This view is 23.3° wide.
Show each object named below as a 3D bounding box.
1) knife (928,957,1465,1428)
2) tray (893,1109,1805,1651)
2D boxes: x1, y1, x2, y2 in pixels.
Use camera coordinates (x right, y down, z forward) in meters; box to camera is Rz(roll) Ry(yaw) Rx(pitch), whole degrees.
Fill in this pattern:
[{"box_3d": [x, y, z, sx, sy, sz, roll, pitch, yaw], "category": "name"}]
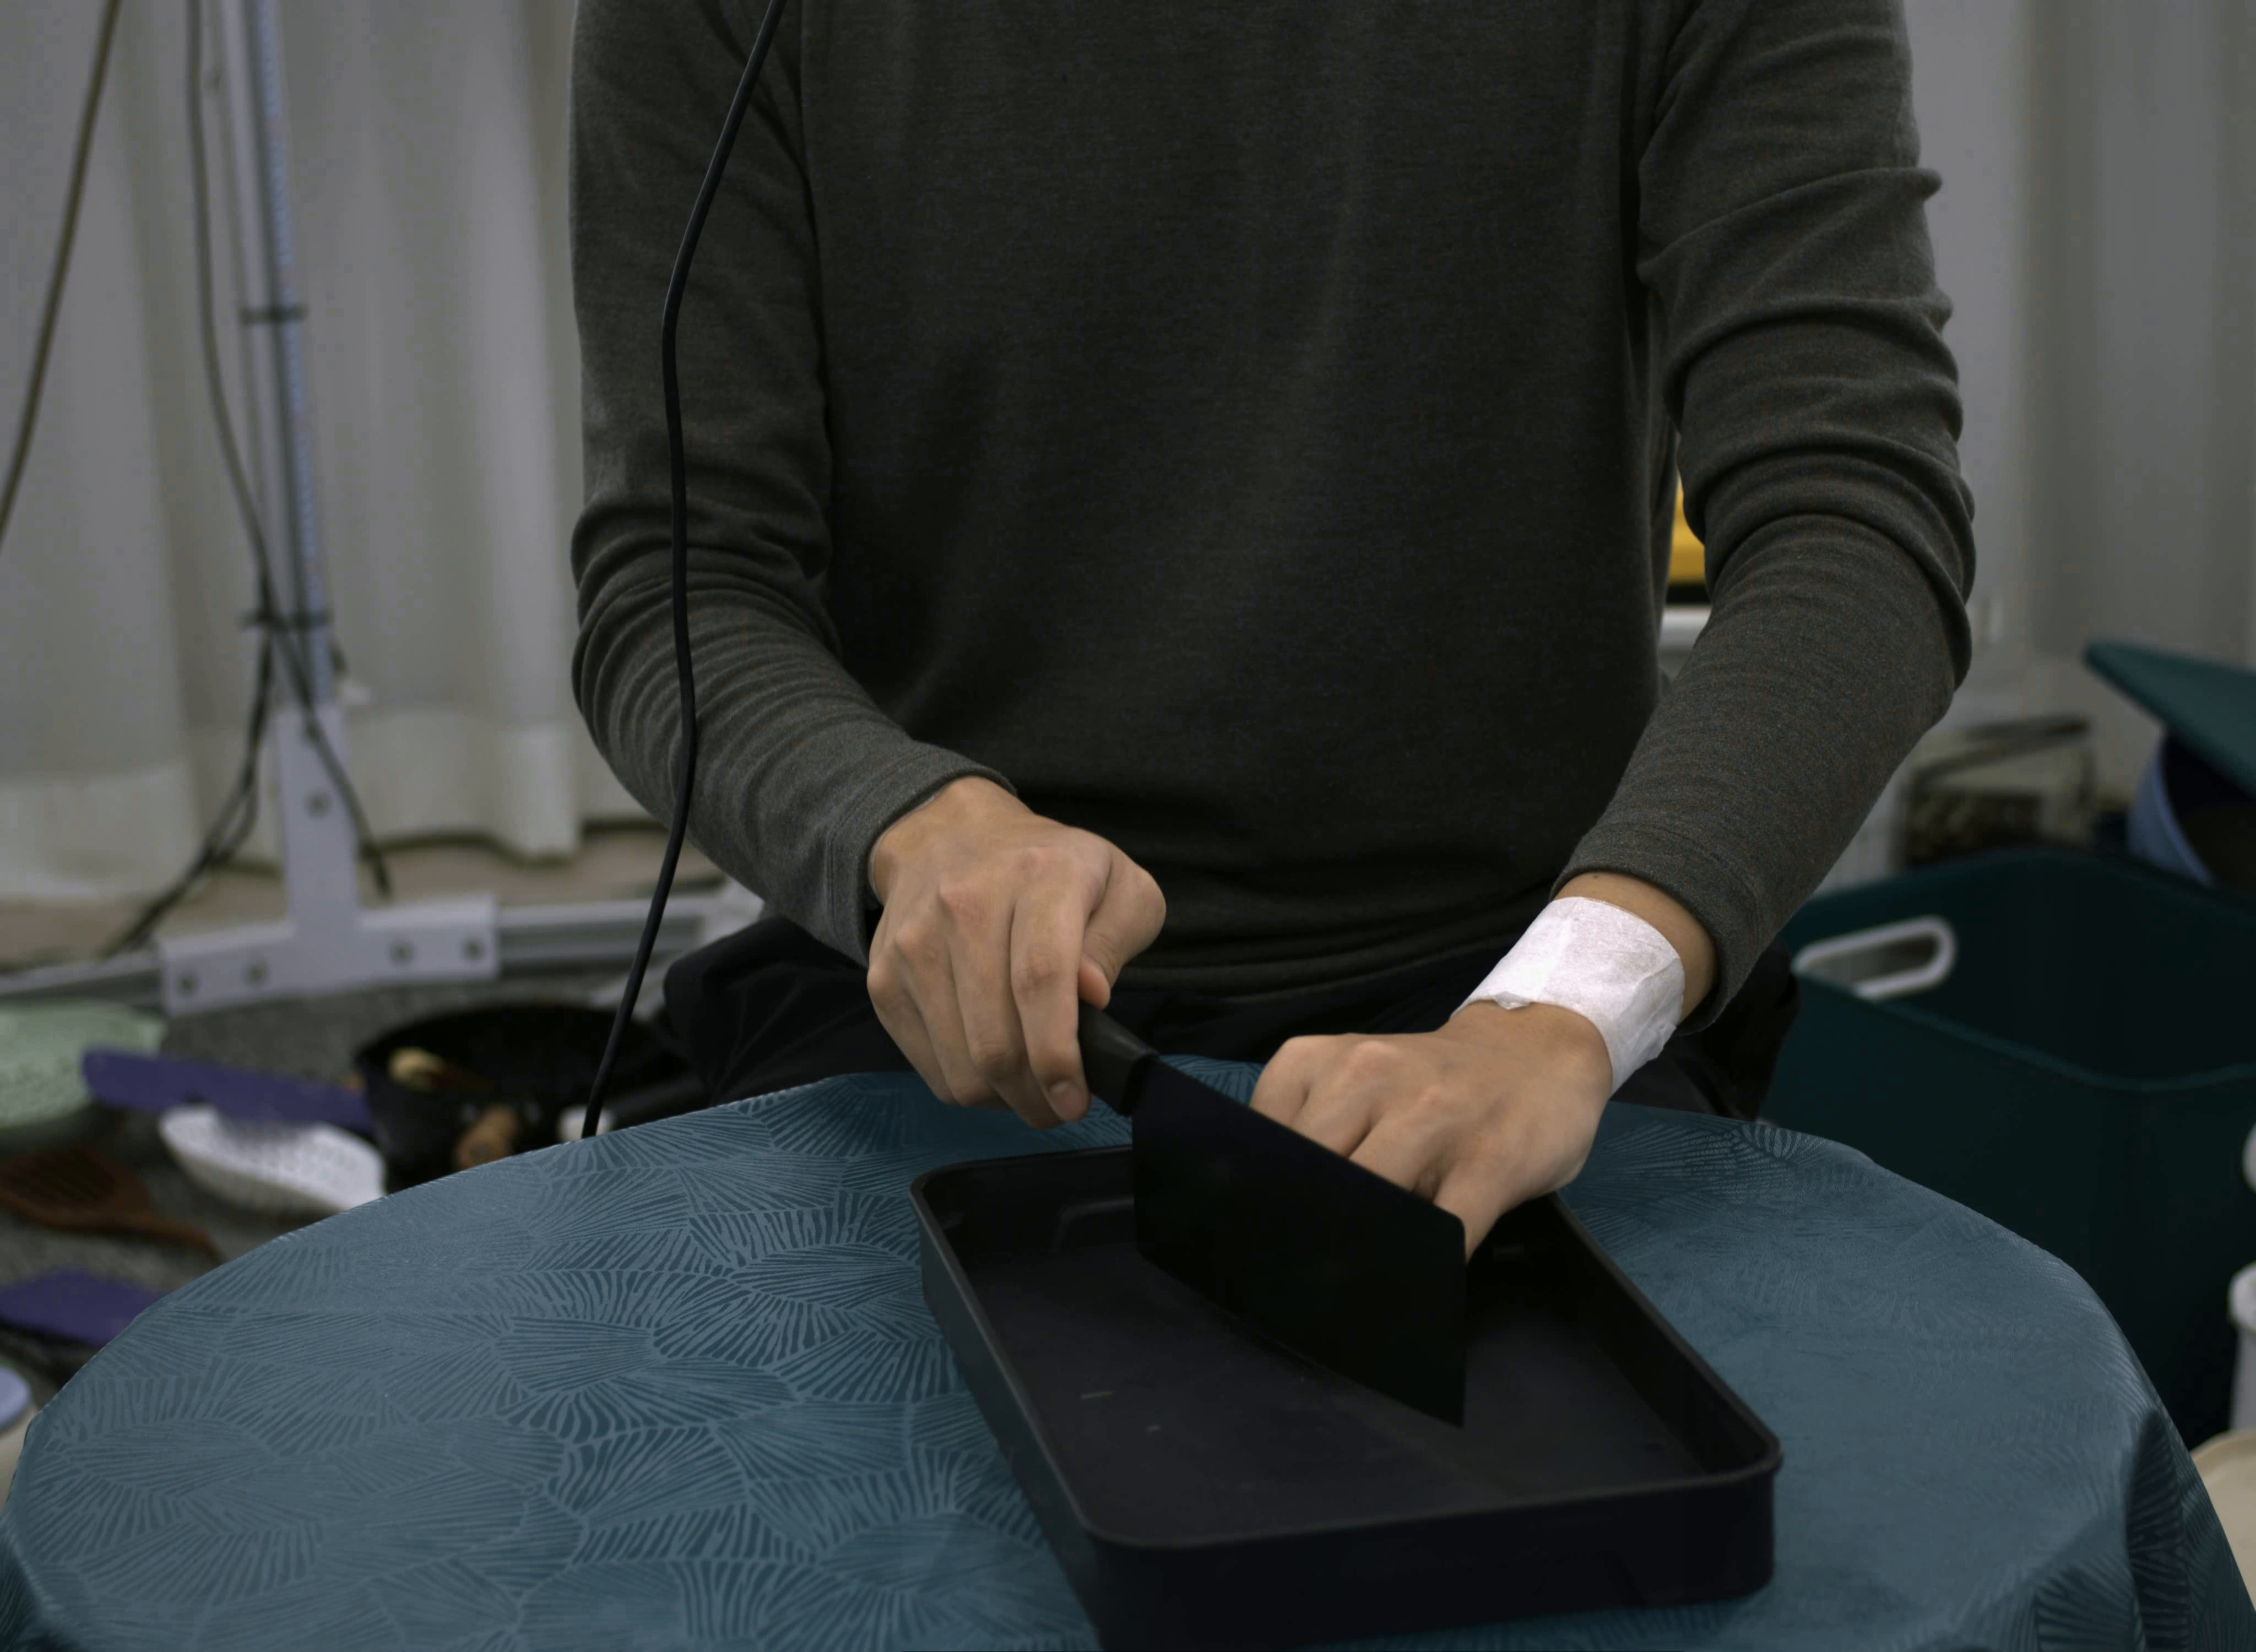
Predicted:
[{"box_3d": [0.017, 0.099, 1.582, 0.021, 0.080, 0.305, -8, 21, -28], "category": "knife"}, {"box_3d": [0.052, 0.149, 1.506, 0.183, 0.037, 0.320, -6, 15, -12], "category": "tray"}]
